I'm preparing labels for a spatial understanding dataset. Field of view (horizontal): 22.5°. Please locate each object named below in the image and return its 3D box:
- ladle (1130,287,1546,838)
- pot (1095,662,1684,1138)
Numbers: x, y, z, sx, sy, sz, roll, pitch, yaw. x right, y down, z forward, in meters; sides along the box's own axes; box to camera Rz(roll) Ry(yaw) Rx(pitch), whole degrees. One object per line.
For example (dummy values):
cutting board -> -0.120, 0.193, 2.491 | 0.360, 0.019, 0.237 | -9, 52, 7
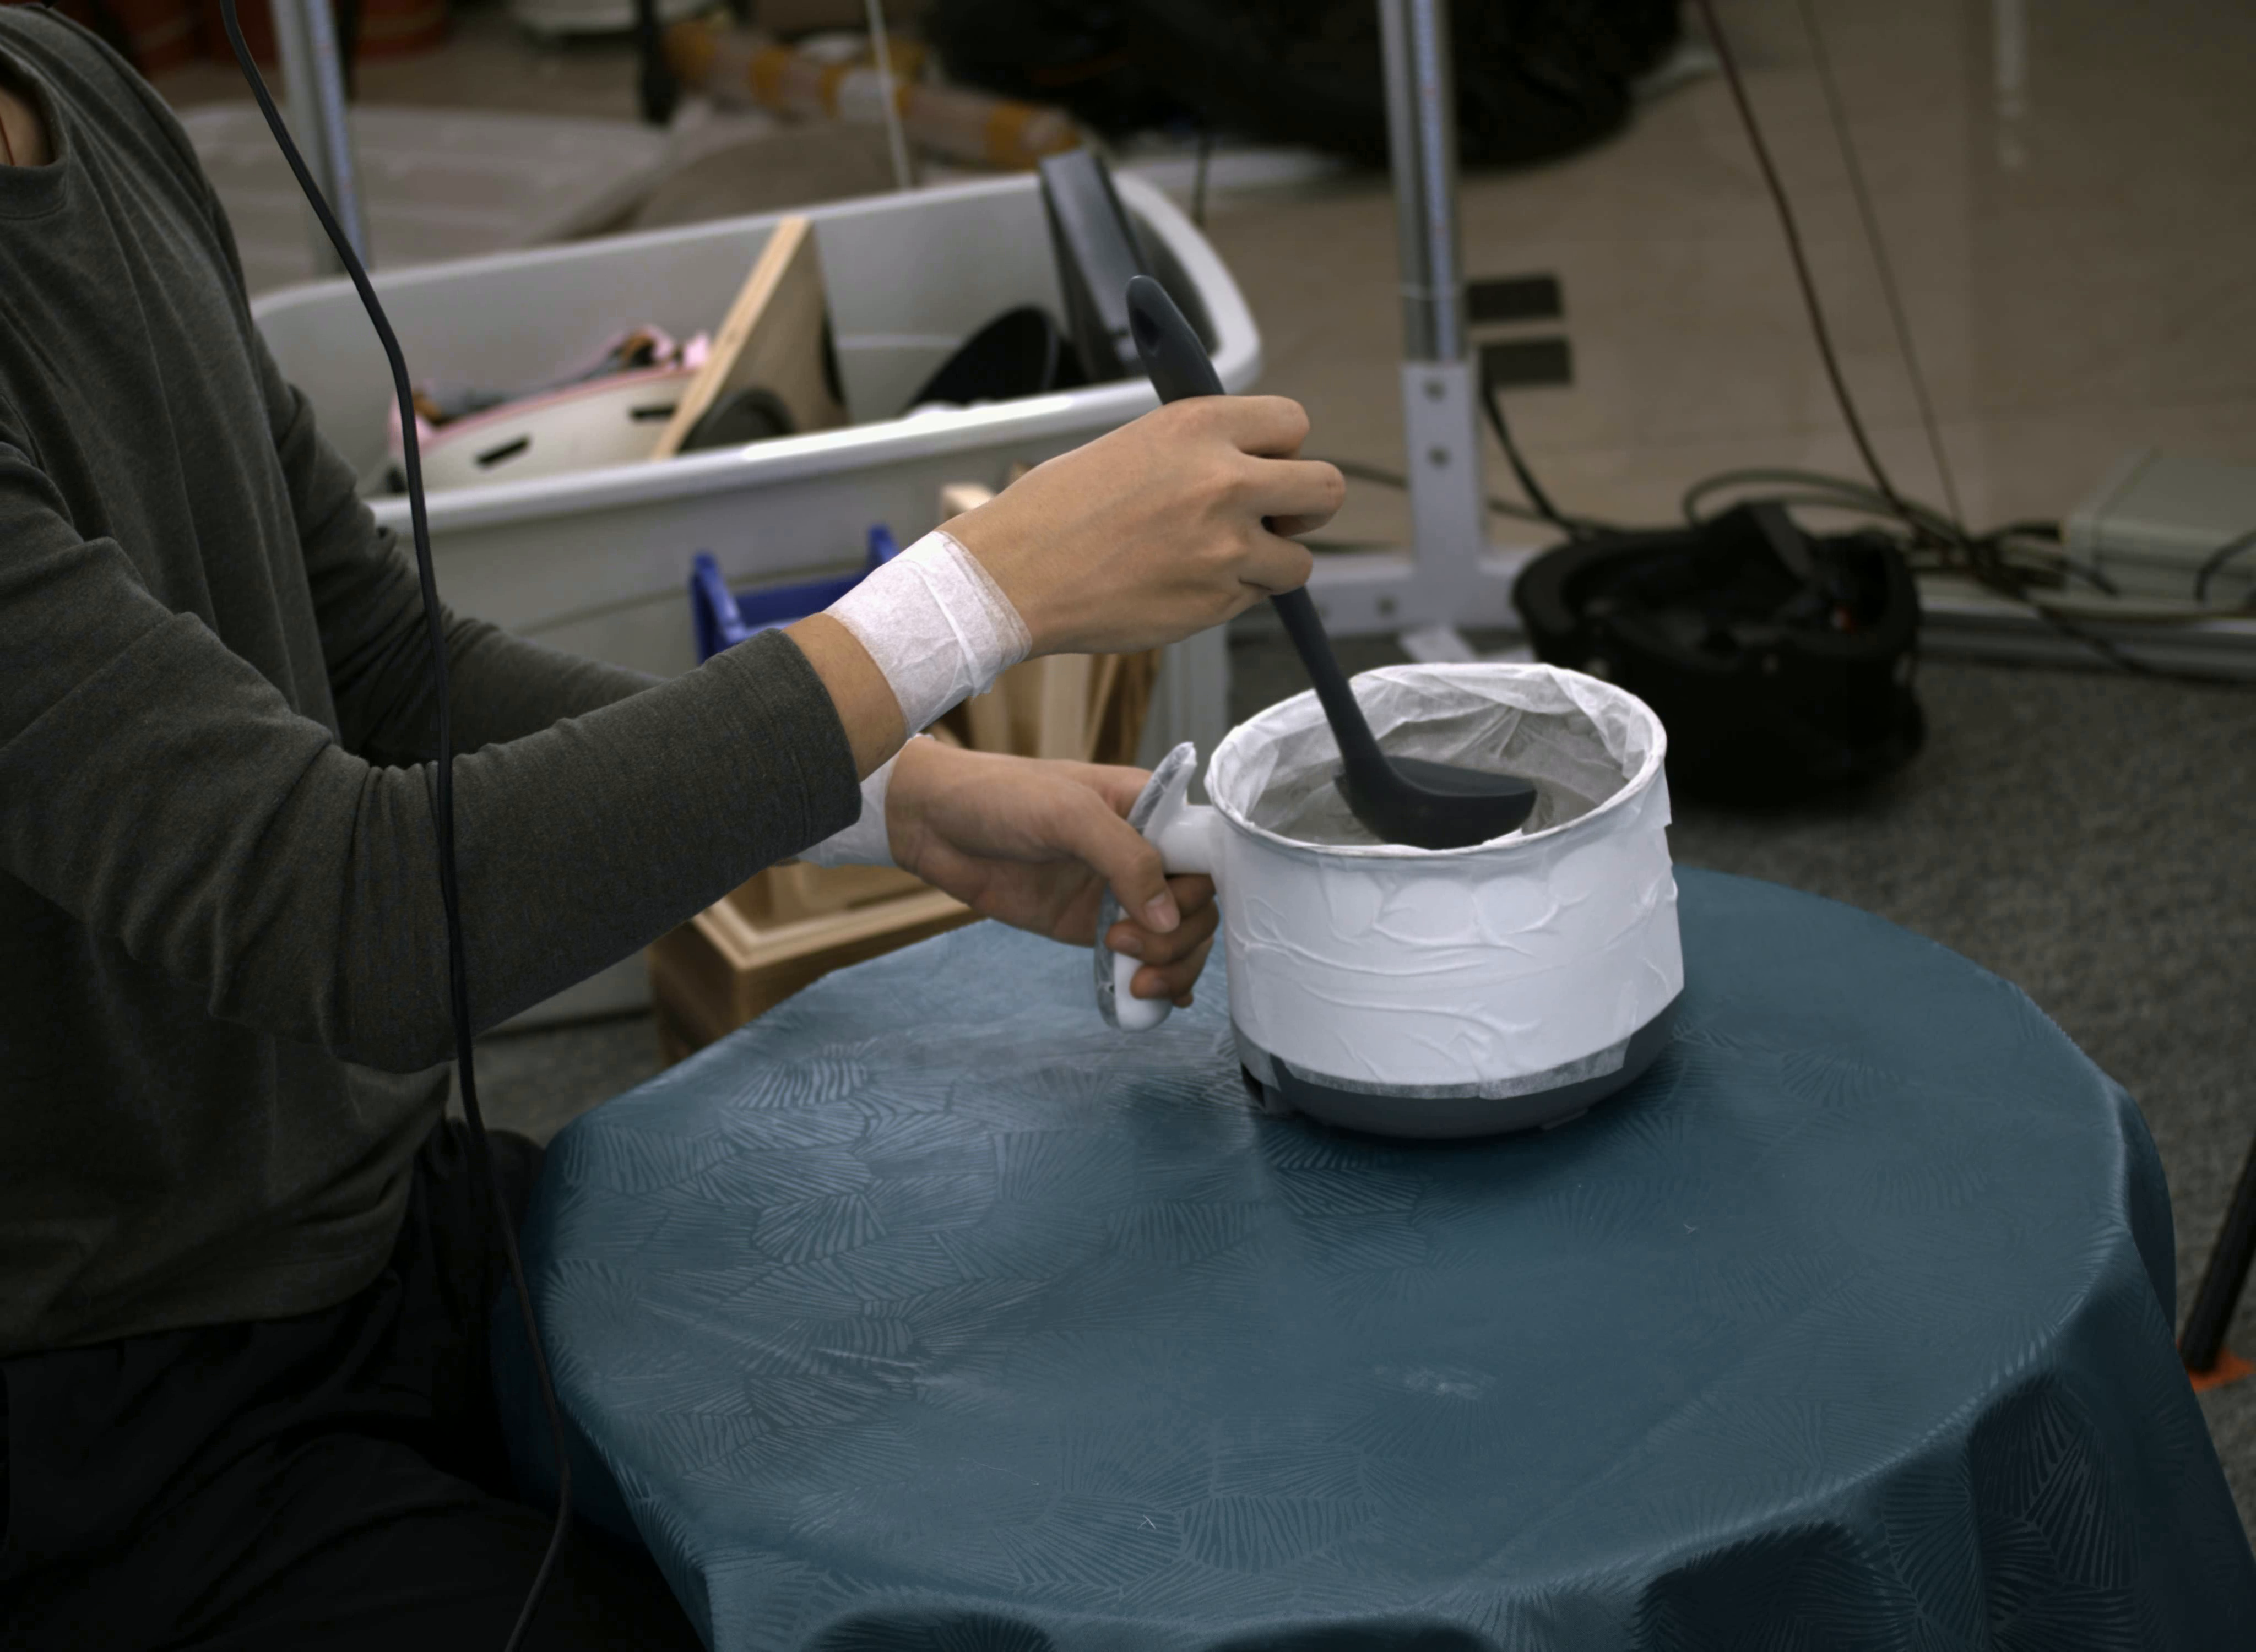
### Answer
ladle -> 0.071, -0.097, 2.104 | 0.086, 0.319, 0.063 | 7, 51, 34
pot -> 0.098, 0.030, 2.196 | 0.233, 0.139, 0.176 | 0, 26, 14
